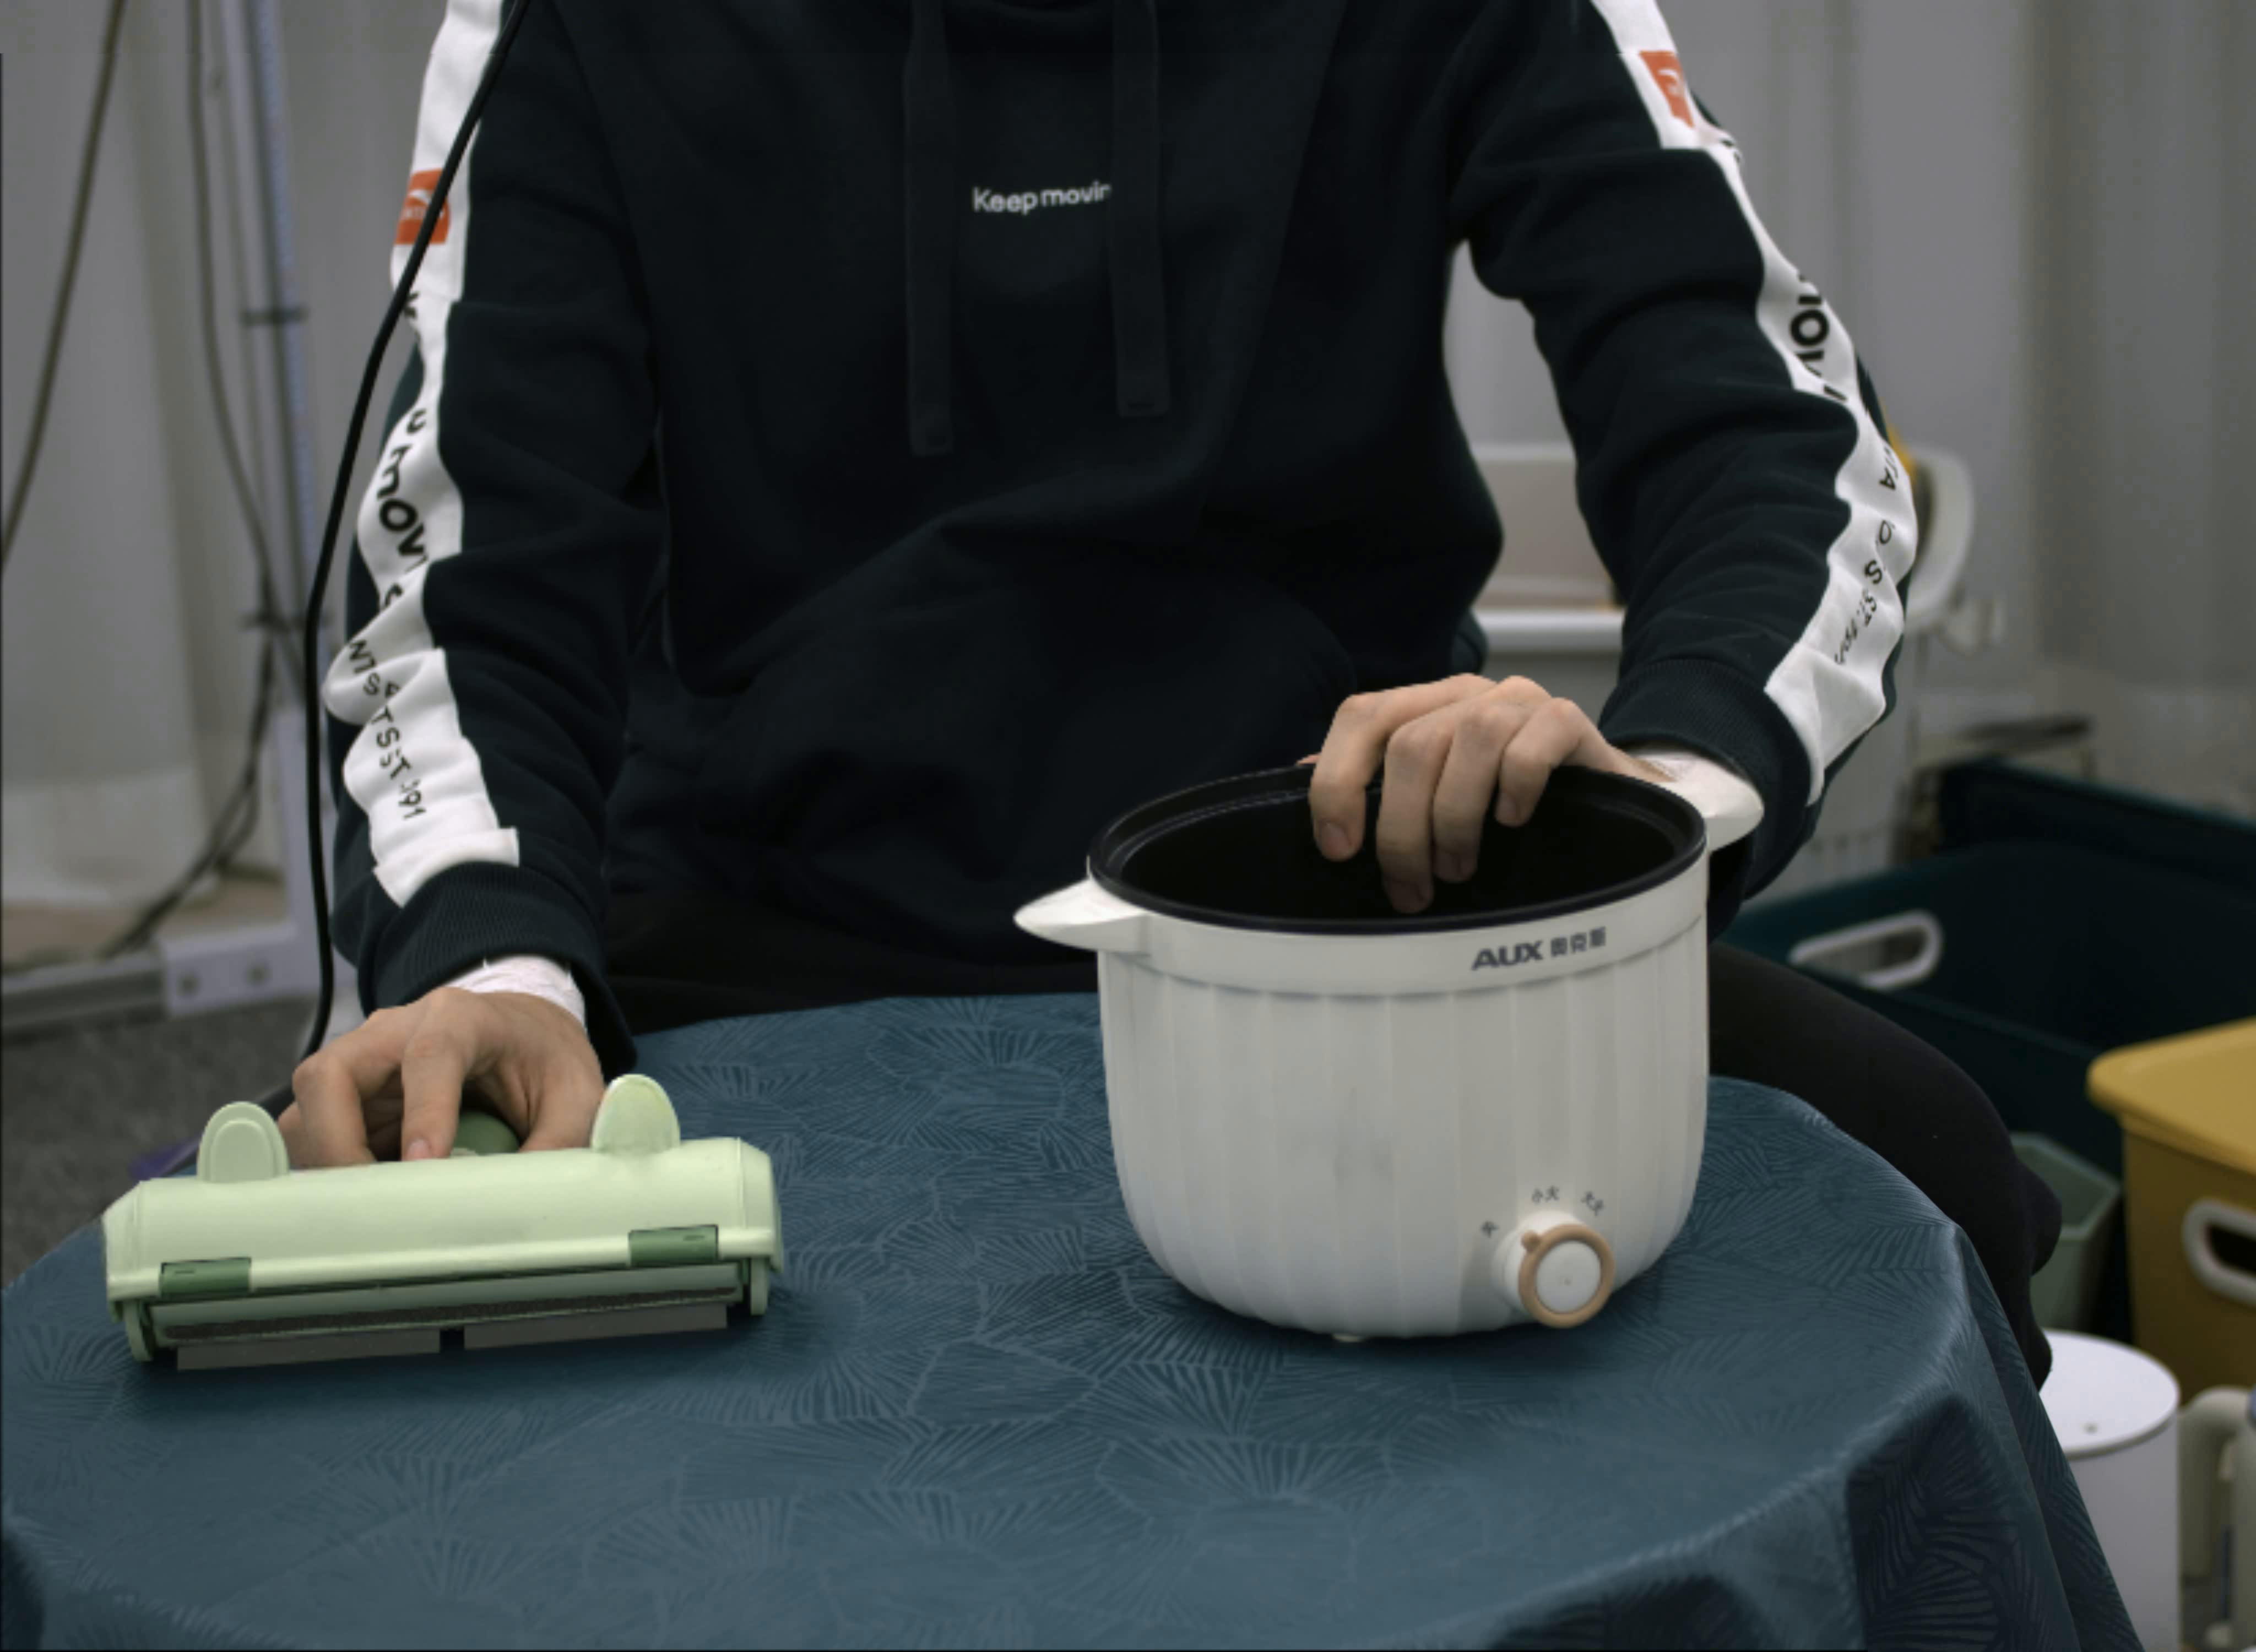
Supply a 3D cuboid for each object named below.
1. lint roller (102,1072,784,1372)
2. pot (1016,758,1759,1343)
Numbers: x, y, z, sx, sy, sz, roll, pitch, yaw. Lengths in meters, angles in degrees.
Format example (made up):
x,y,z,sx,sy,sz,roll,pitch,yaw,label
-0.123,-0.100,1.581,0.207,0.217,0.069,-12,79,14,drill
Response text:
x,y,z,sx,sy,sz,roll,pitch,yaw,label
-0.206,0.100,1.664,0.198,0.081,0.185,-4,20,-3,lint roller
0.085,0.068,1.607,0.239,0.142,0.192,-10,13,-22,pot
